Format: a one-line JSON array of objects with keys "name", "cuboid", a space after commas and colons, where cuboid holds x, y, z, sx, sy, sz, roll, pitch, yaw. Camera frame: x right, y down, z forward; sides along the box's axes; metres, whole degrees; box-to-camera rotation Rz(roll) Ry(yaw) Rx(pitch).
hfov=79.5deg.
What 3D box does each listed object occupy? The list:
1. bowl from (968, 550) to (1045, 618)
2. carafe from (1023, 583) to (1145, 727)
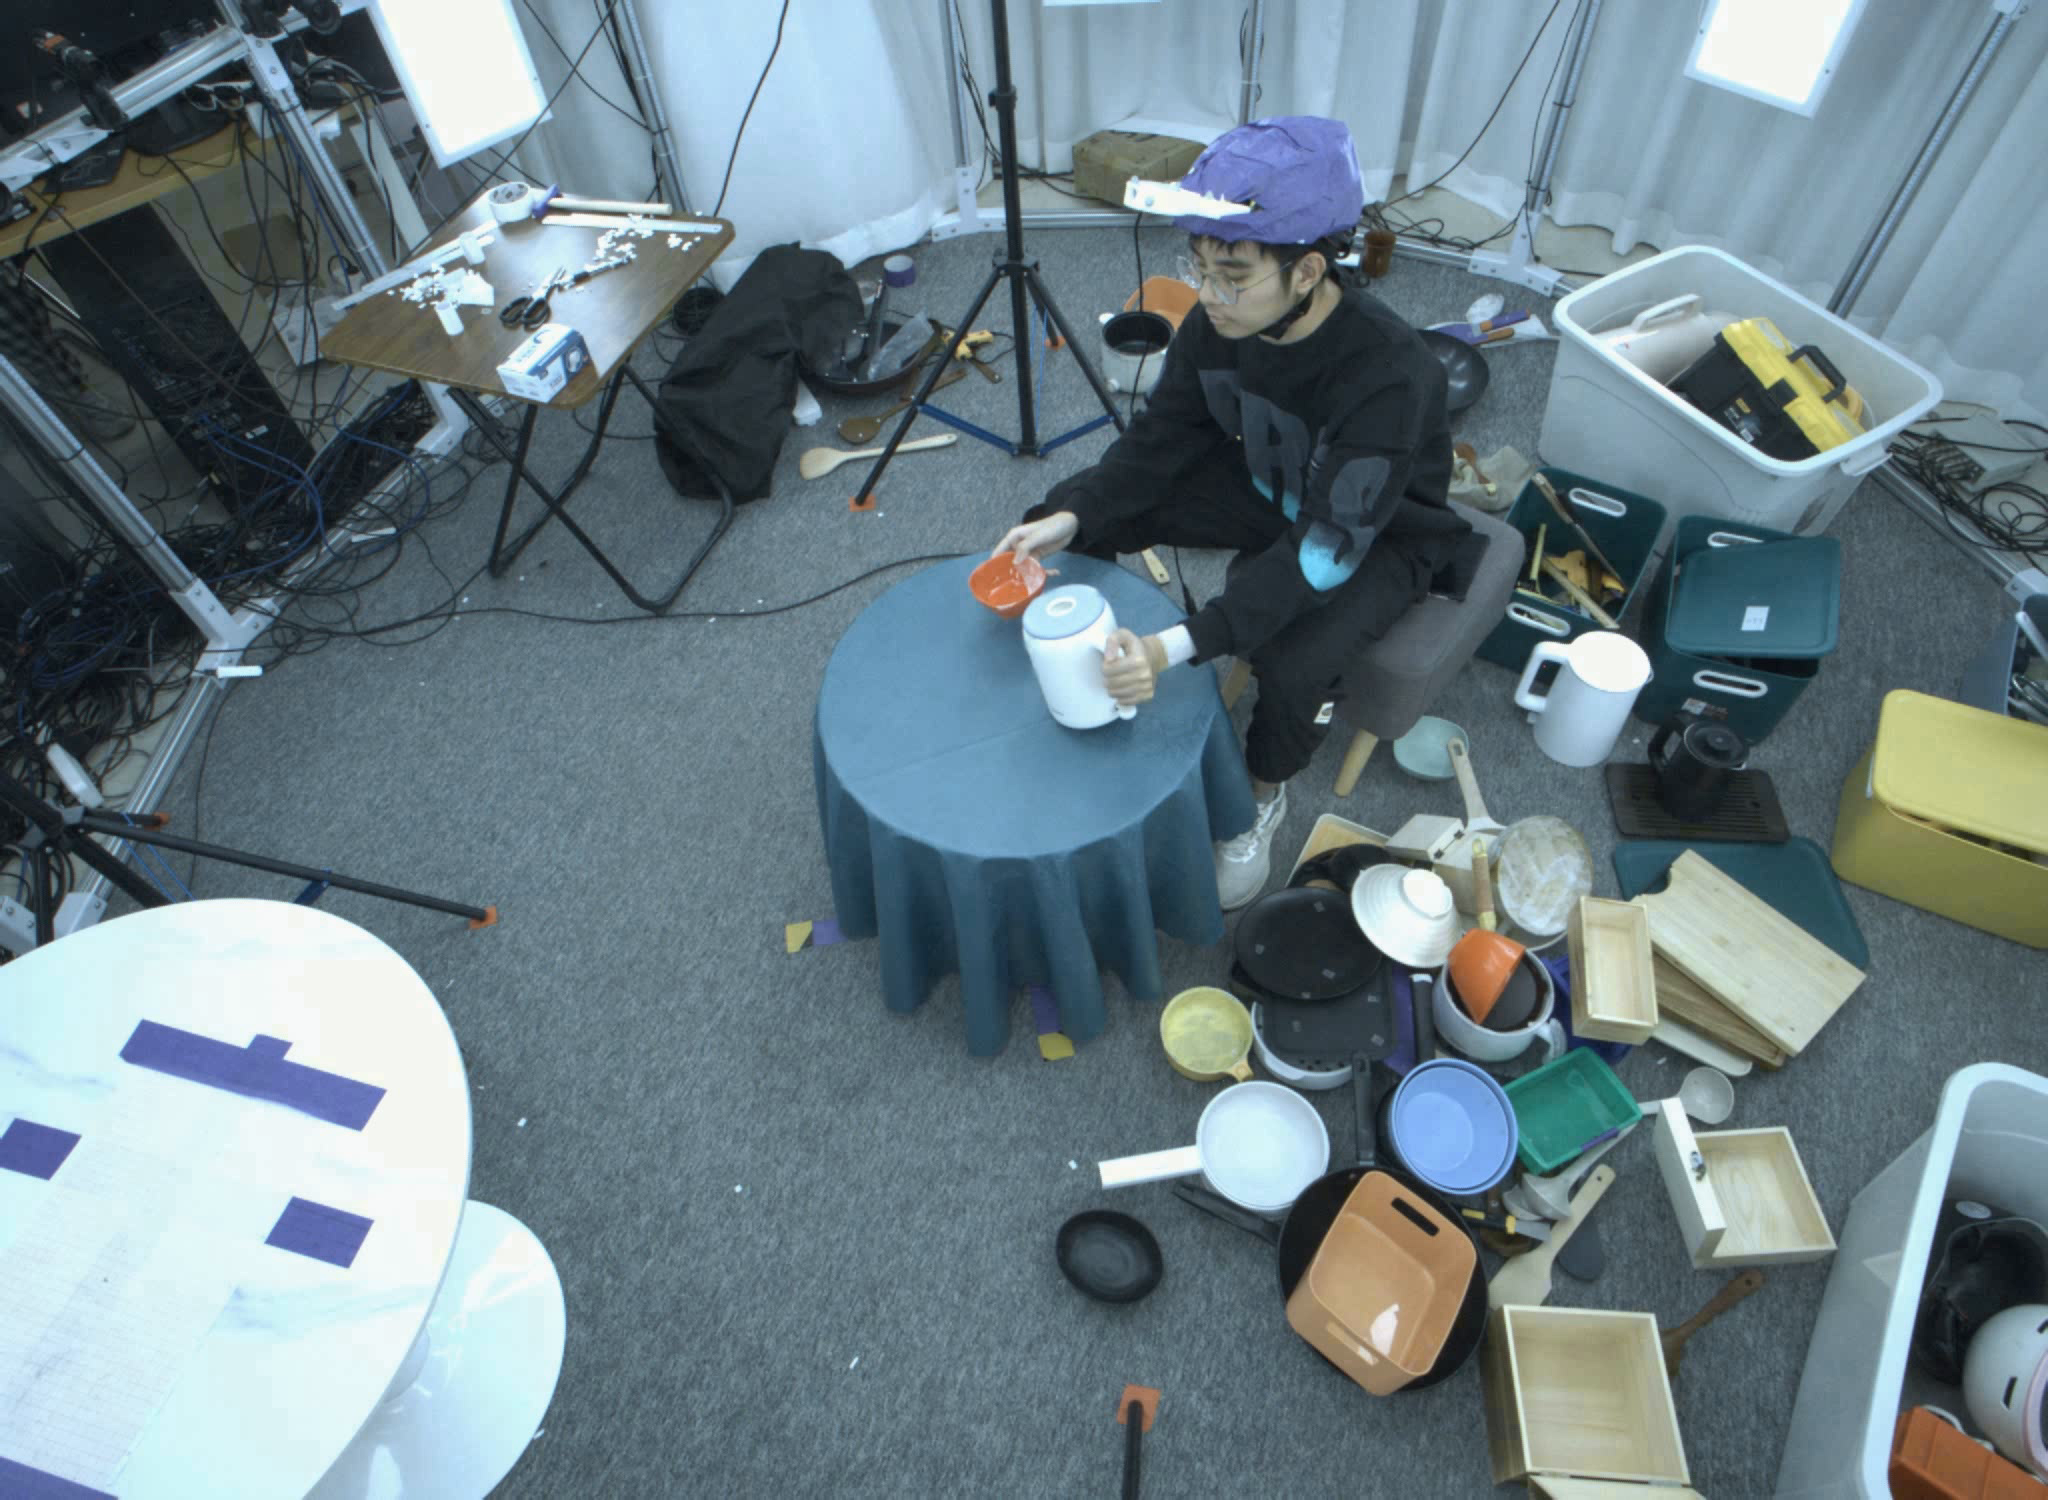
[{"name": "bowl", "cuboid": [-0.023, -0.245, 1.861, 0.118, 0.052, 0.117, -6, 52, 9]}, {"name": "carafe", "cuboid": [0.094, -0.125, 1.738, 0.133, 0.185, 0.186, -41, 48, -20]}]
